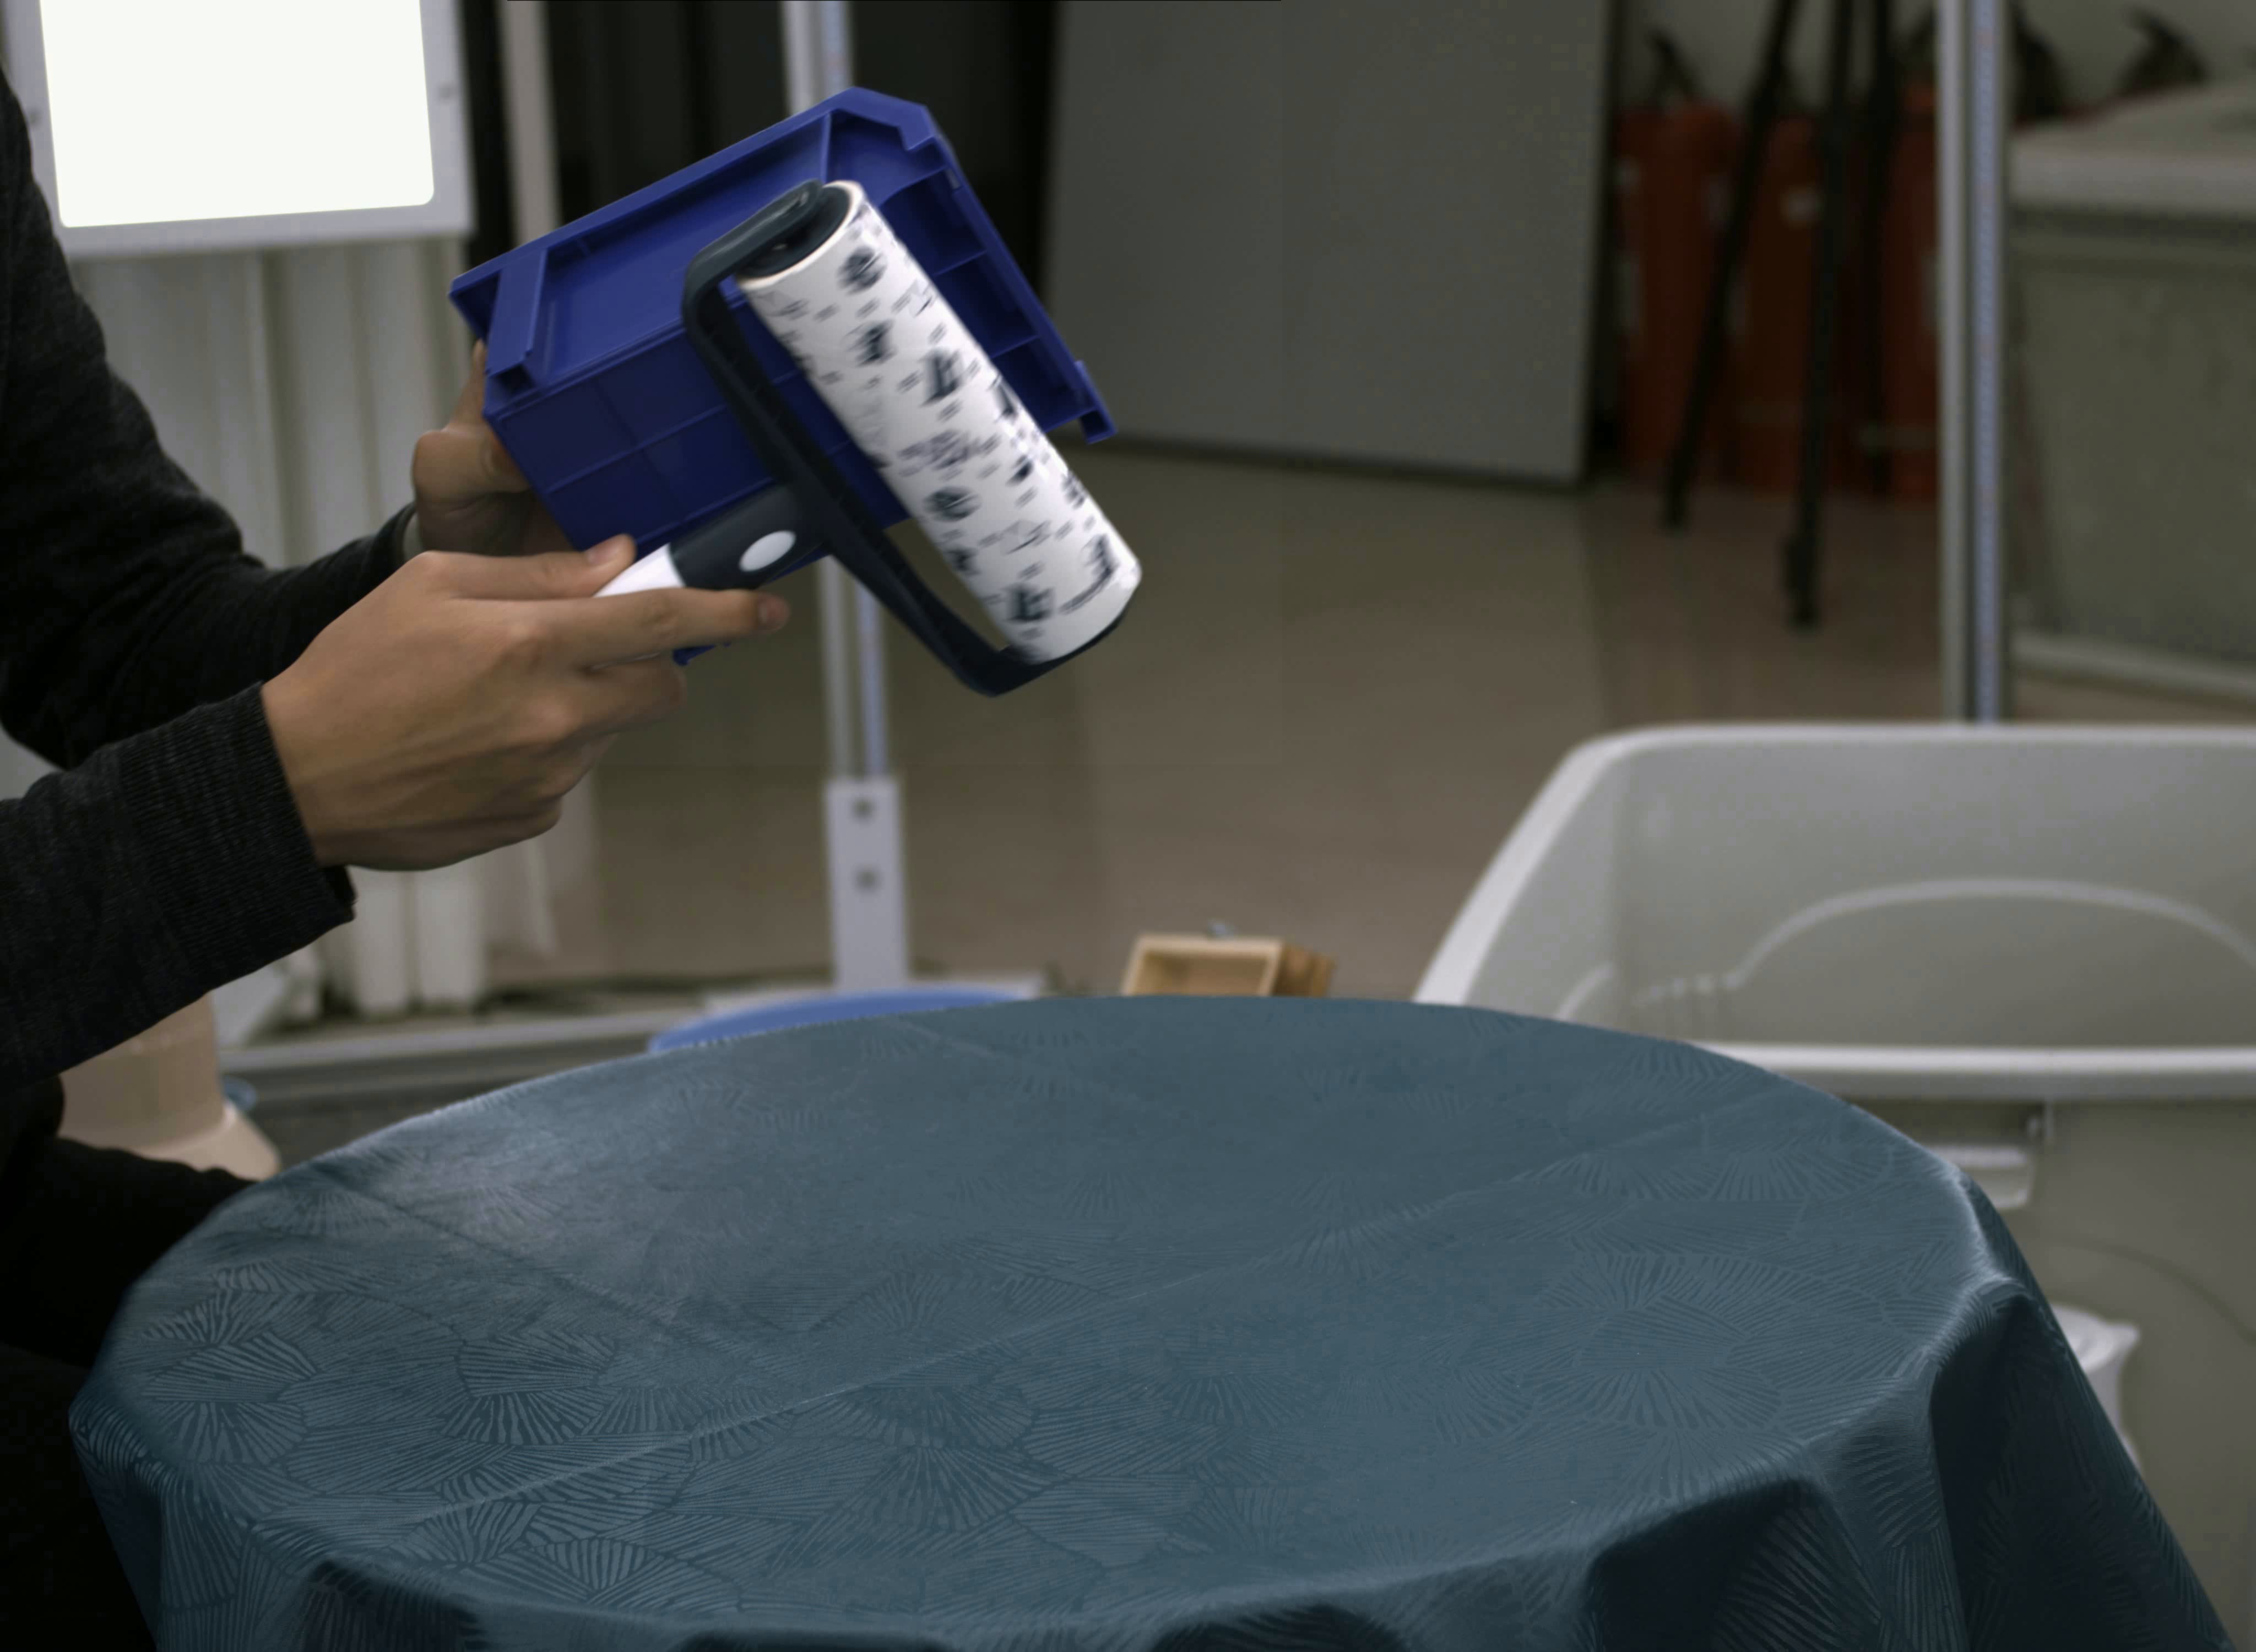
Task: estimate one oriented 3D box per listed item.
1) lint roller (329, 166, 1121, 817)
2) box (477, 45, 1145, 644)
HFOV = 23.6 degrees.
[{"bbox_3d":[-0.143,-0.069,1.666,0.247,0.175,0.051,-34,28,10],"label":"lint roller"},{"bbox_3d":[-0.099,-0.153,1.706,0.179,0.124,0.082,-27,29,14],"label":"box"}]
